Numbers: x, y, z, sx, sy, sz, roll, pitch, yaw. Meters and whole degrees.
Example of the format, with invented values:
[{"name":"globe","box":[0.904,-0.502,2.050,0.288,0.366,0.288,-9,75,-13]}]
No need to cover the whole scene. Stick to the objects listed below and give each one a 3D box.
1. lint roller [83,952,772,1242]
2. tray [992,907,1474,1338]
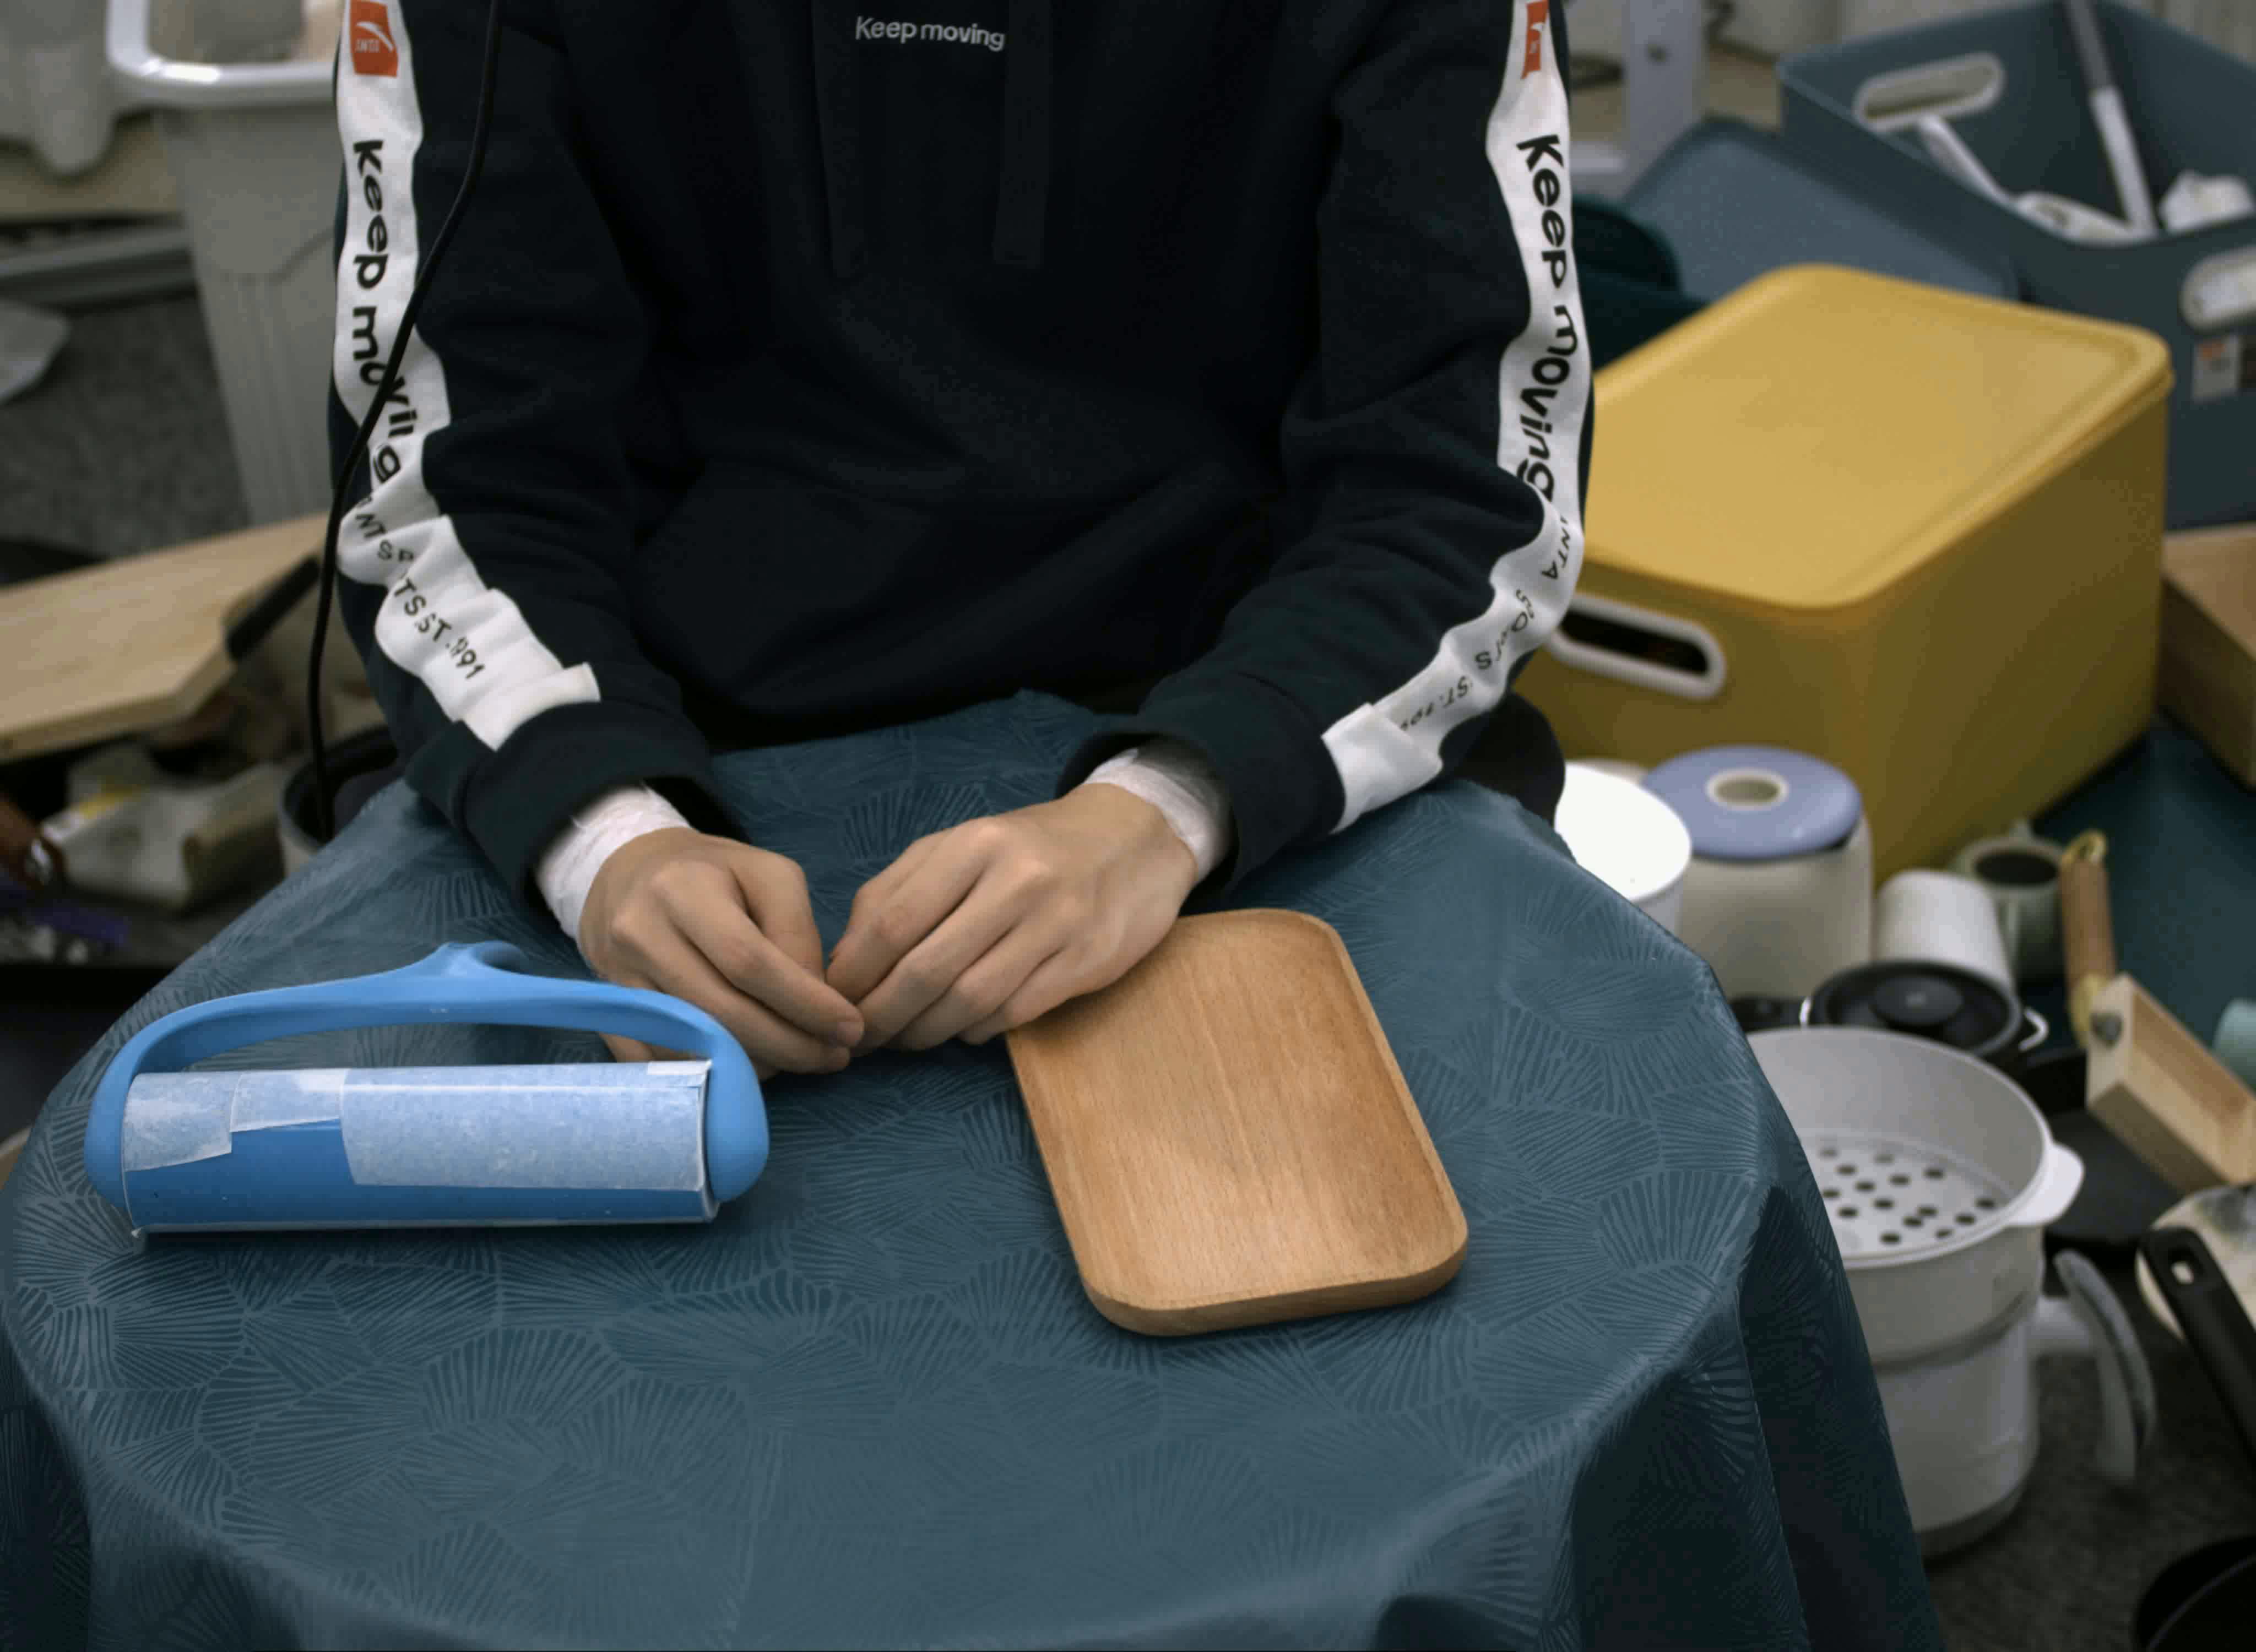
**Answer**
[{"name":"lint roller","box":[-0.231,0.078,1.905,0.228,0.067,0.183,-4,29,2]},{"name":"tray","box":[0.032,0.097,1.887,0.130,0.022,0.254,-5,27,-8]}]
